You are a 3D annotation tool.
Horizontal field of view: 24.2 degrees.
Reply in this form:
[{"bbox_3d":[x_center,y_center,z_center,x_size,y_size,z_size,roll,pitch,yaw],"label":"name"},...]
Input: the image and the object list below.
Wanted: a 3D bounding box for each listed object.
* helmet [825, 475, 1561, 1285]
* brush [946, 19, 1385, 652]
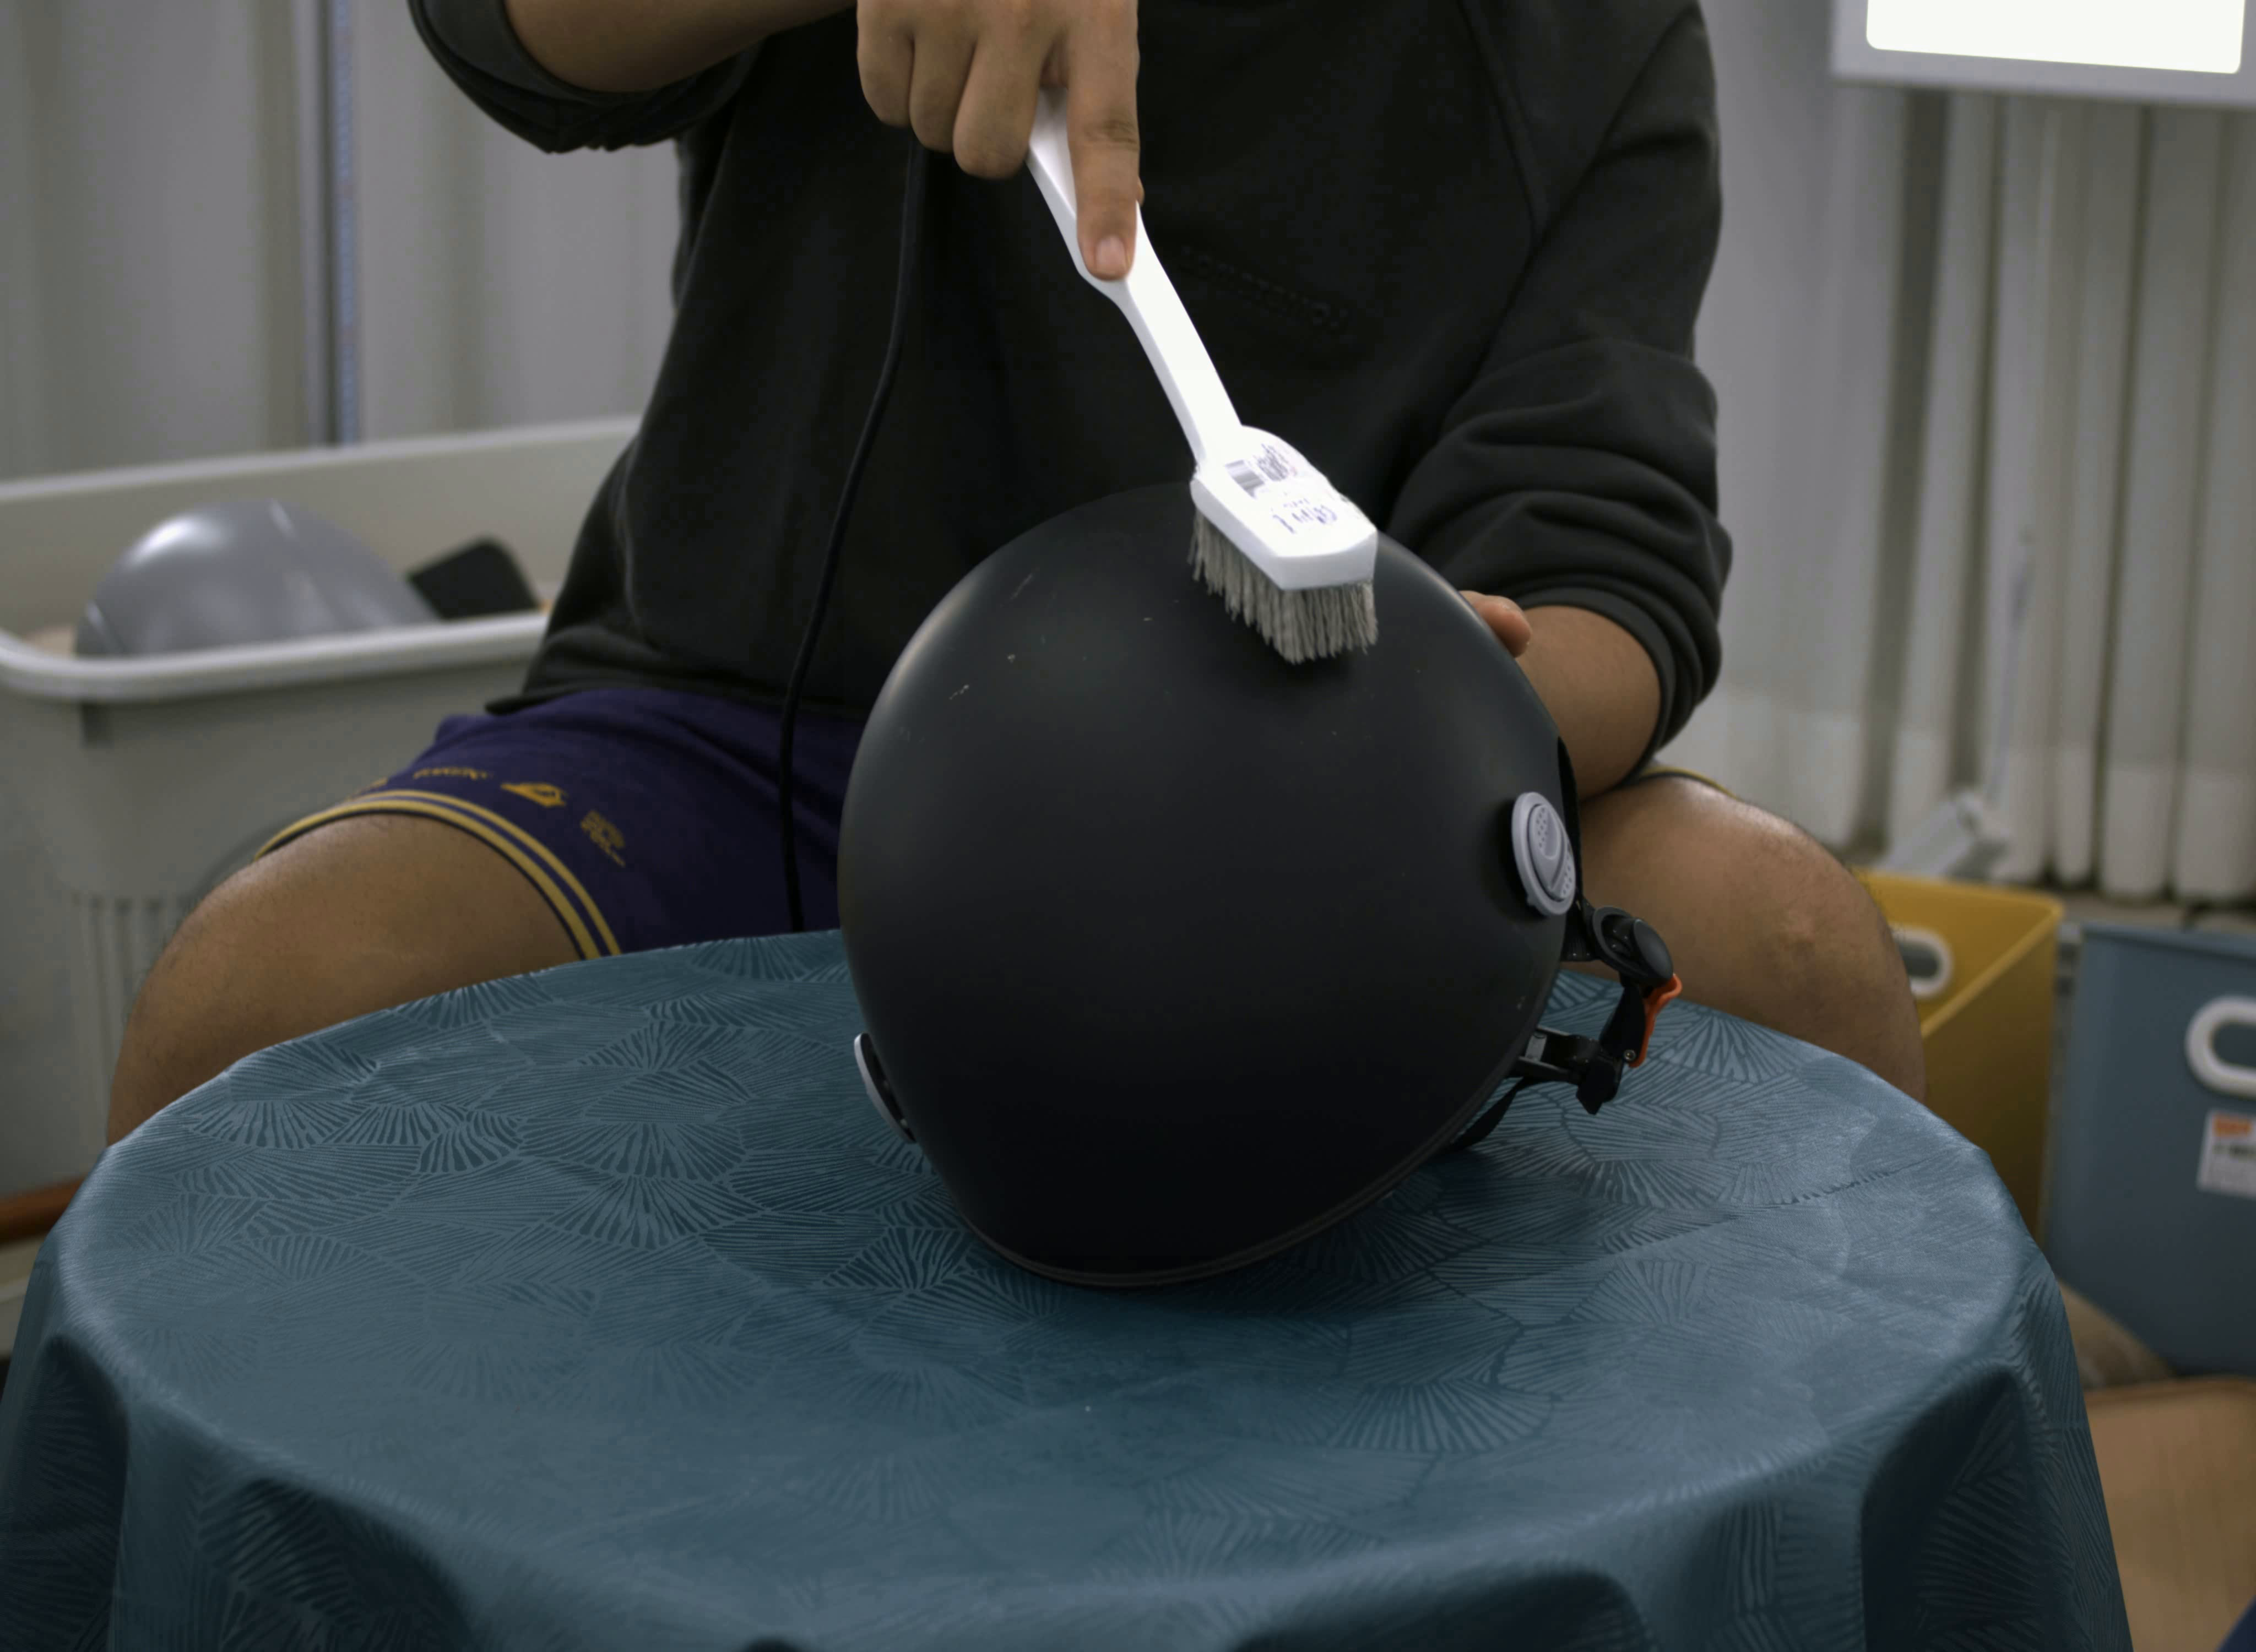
[{"bbox_3d":[0.008,-0.005,1.583,0.229,0.169,0.271,-20,31,20],"label":"helmet"},{"bbox_3d":[0.006,-0.144,1.552,0.034,0.050,0.241,-19,57,-24],"label":"brush"}]
